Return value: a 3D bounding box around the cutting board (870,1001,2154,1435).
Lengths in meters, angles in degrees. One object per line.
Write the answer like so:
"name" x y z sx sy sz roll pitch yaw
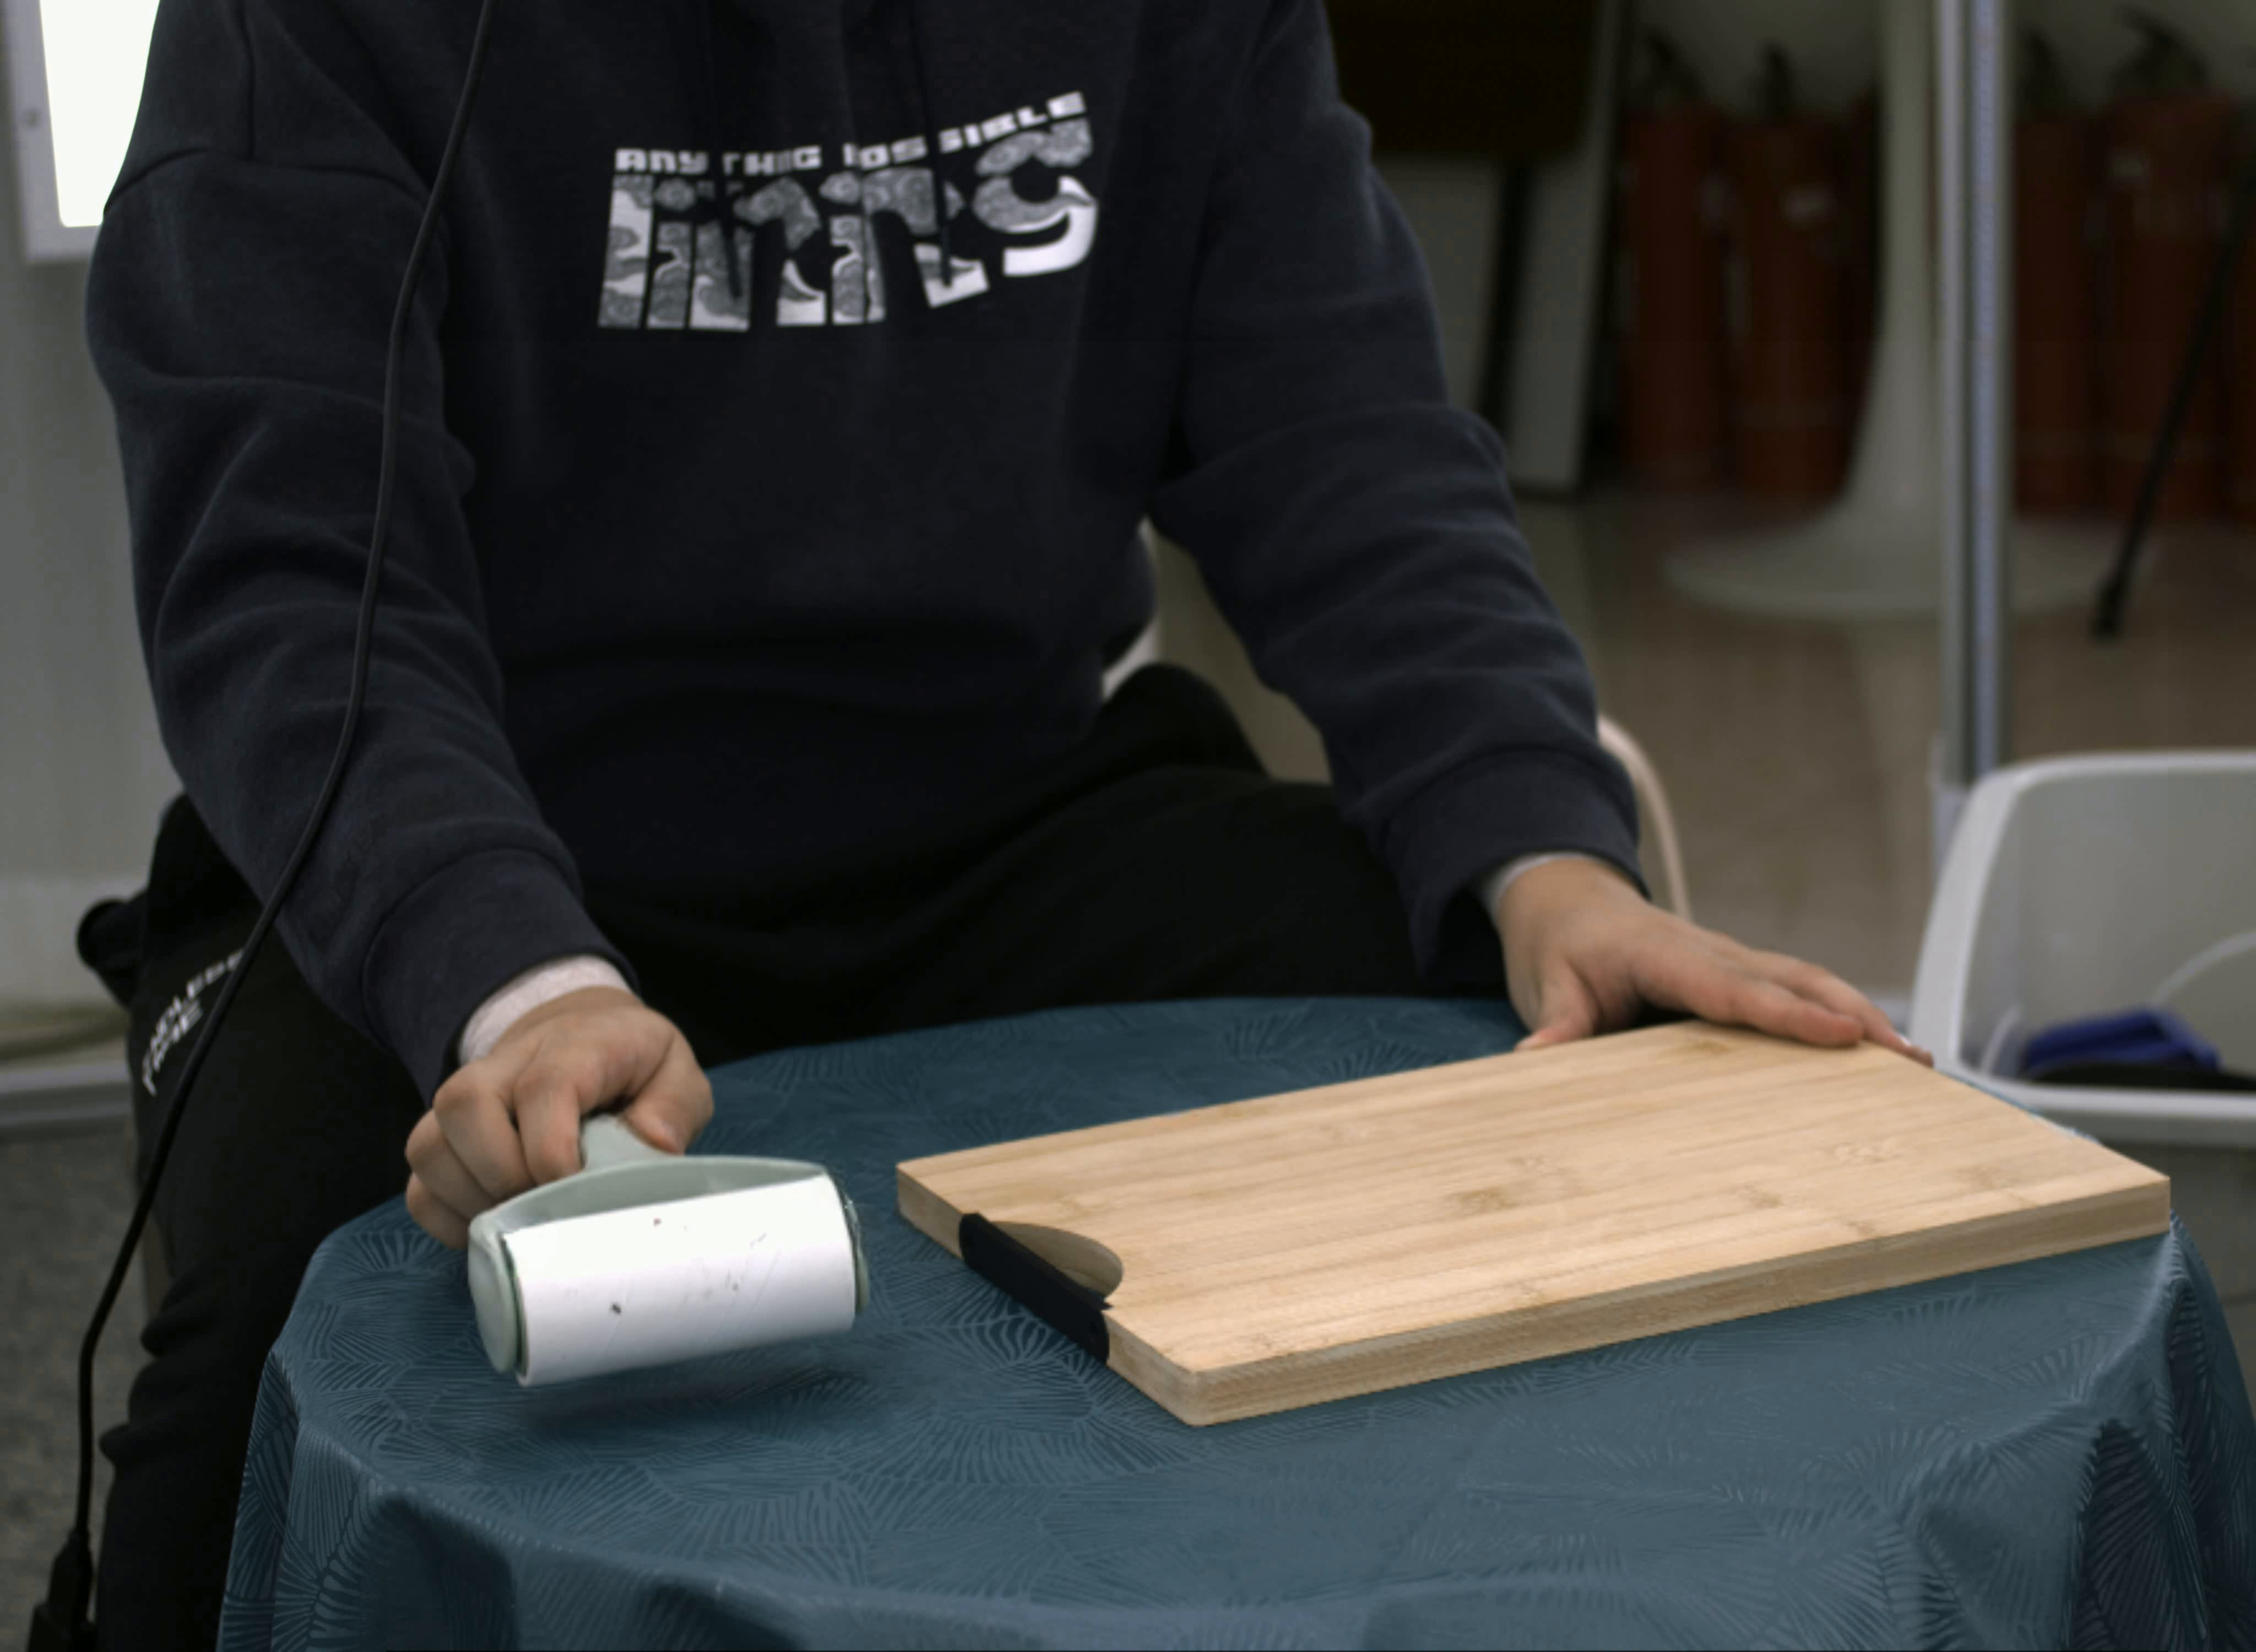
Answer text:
"cutting board" 0.120 0.120 1.715 0.341 0.024 0.253 -9 14 -22

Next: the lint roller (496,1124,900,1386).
"lint roller" -0.147 0.117 1.663 0.114 0.049 0.199 -12 15 -15
